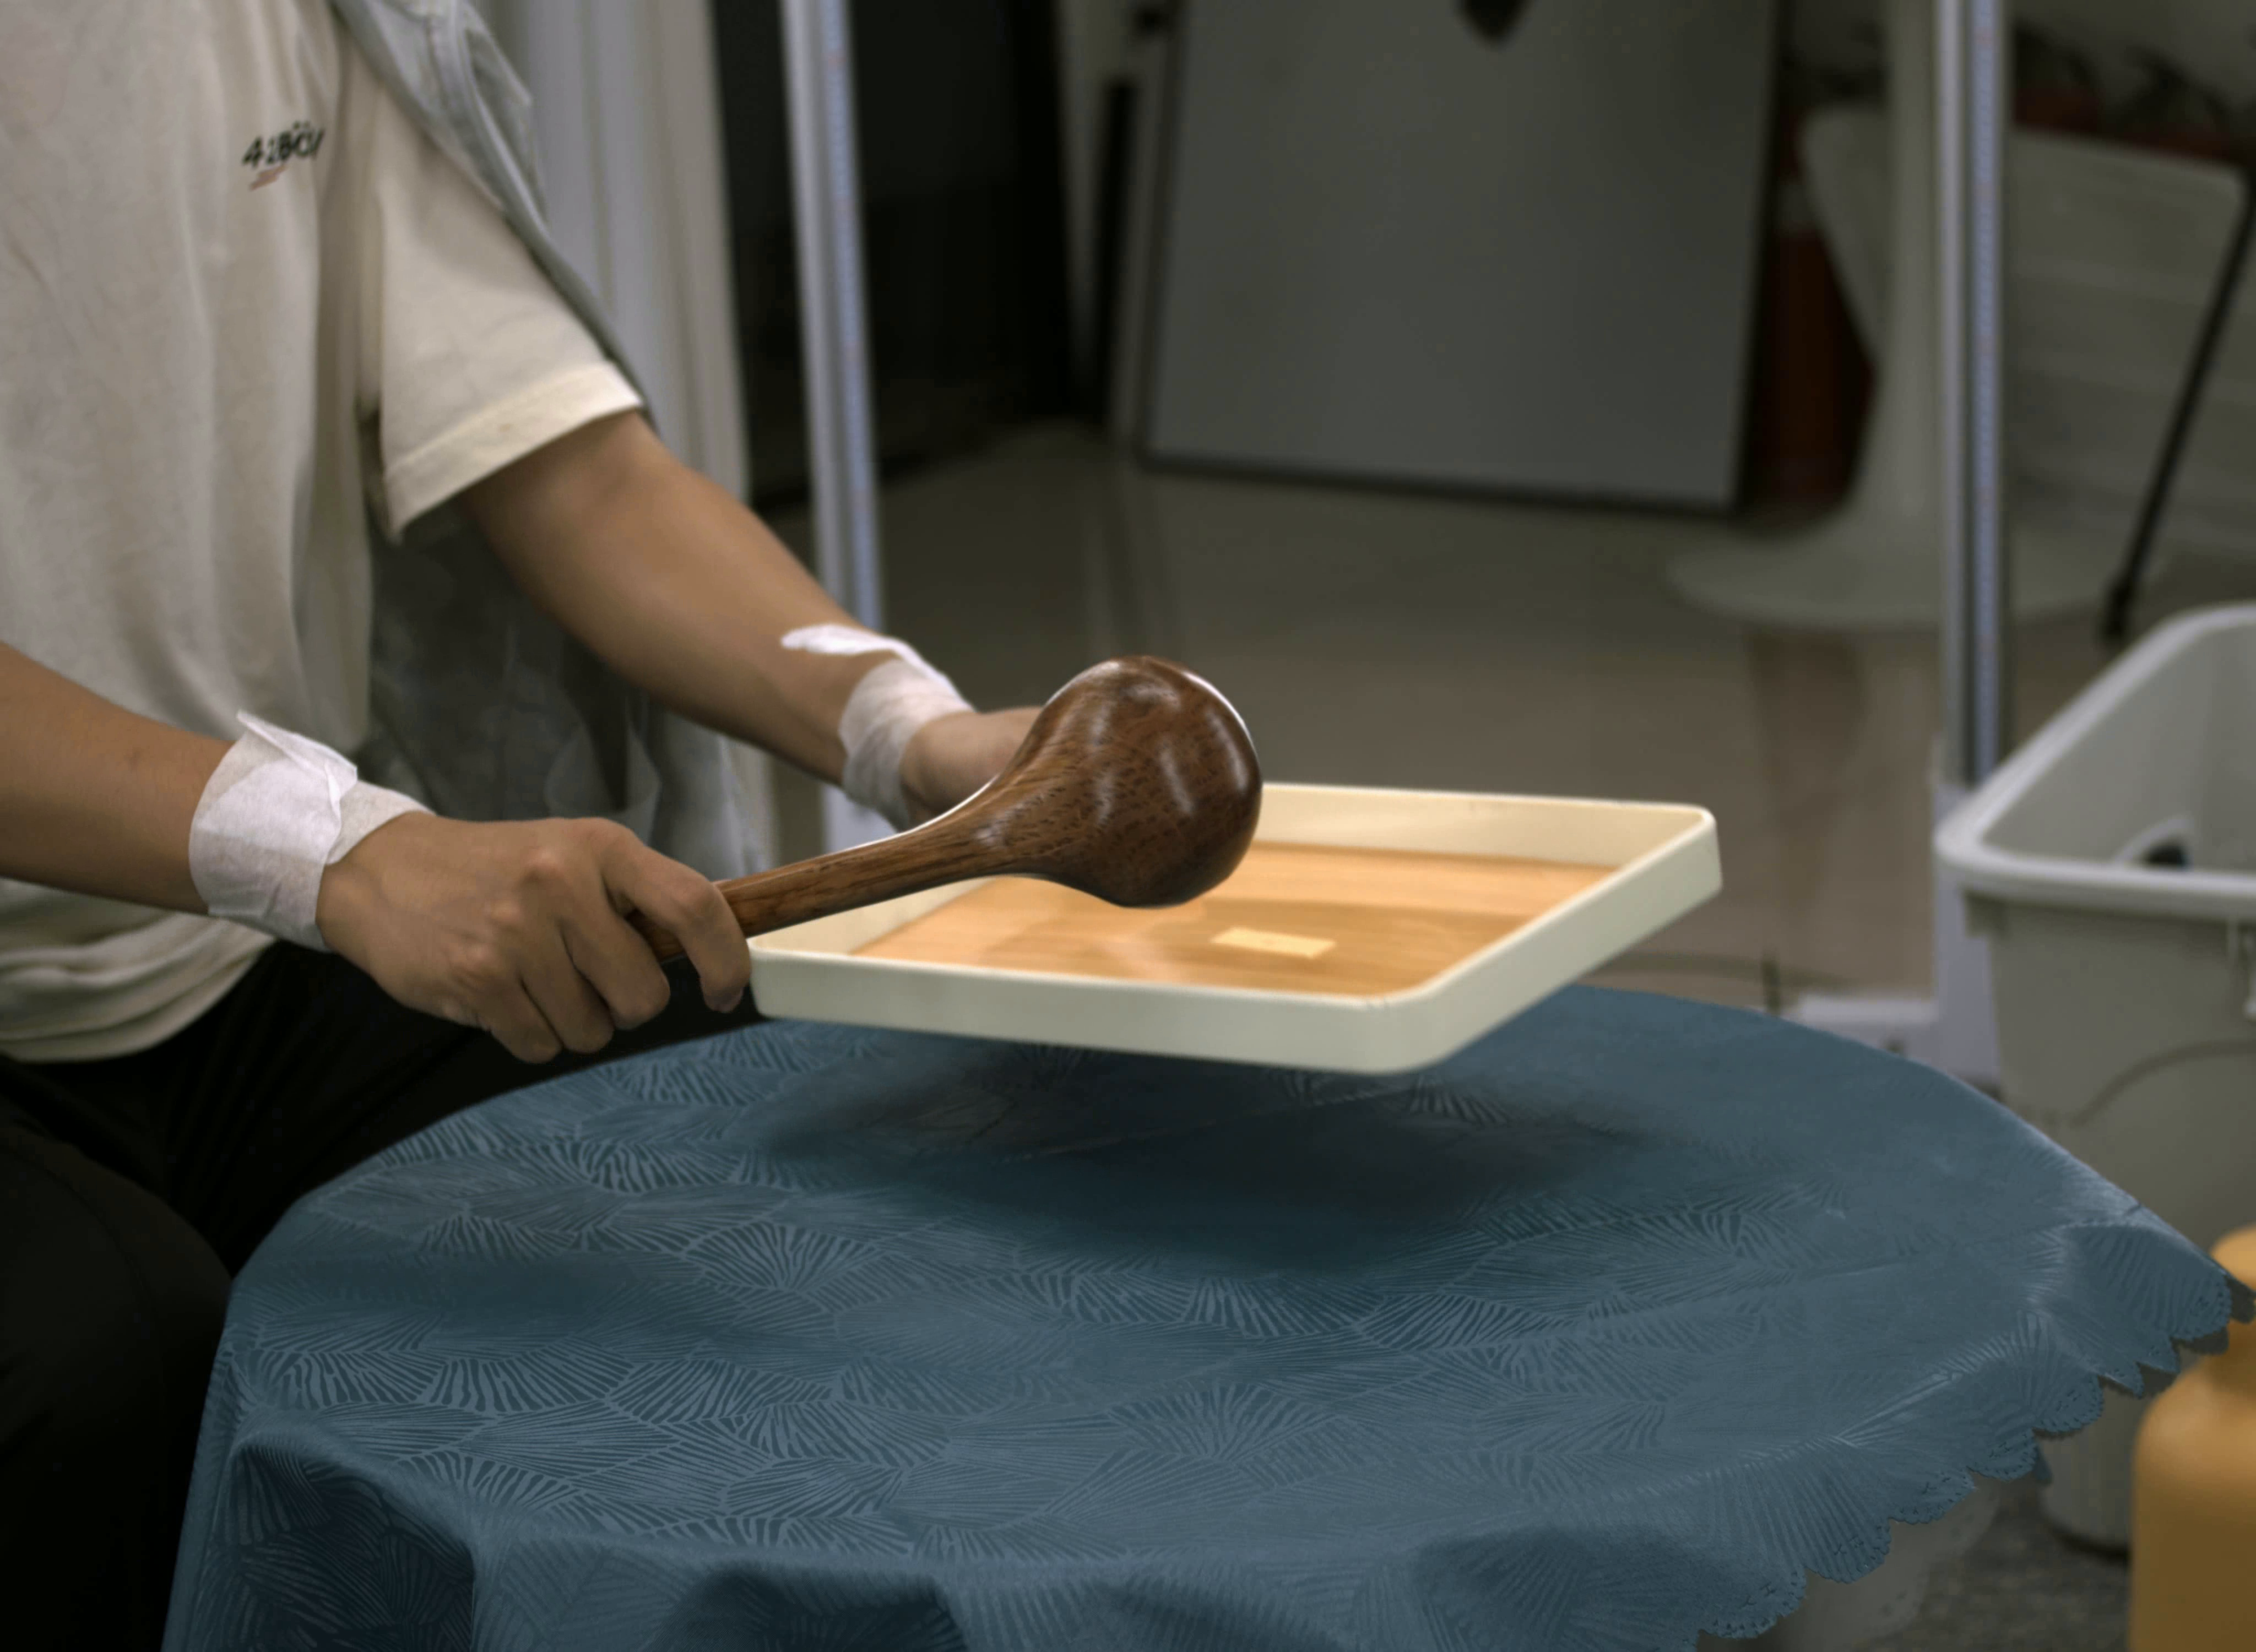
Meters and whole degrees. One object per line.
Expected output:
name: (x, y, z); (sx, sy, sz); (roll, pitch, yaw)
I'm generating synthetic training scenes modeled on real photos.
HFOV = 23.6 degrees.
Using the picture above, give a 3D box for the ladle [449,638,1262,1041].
ladle: (-0.087, 0.013, 1.725); (0.274, 0.083, 0.075); (-19, -3, 23)

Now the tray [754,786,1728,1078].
tray: (0.036, 0.032, 1.825); (0.303, 0.027, 0.188); (3, 22, 42)
